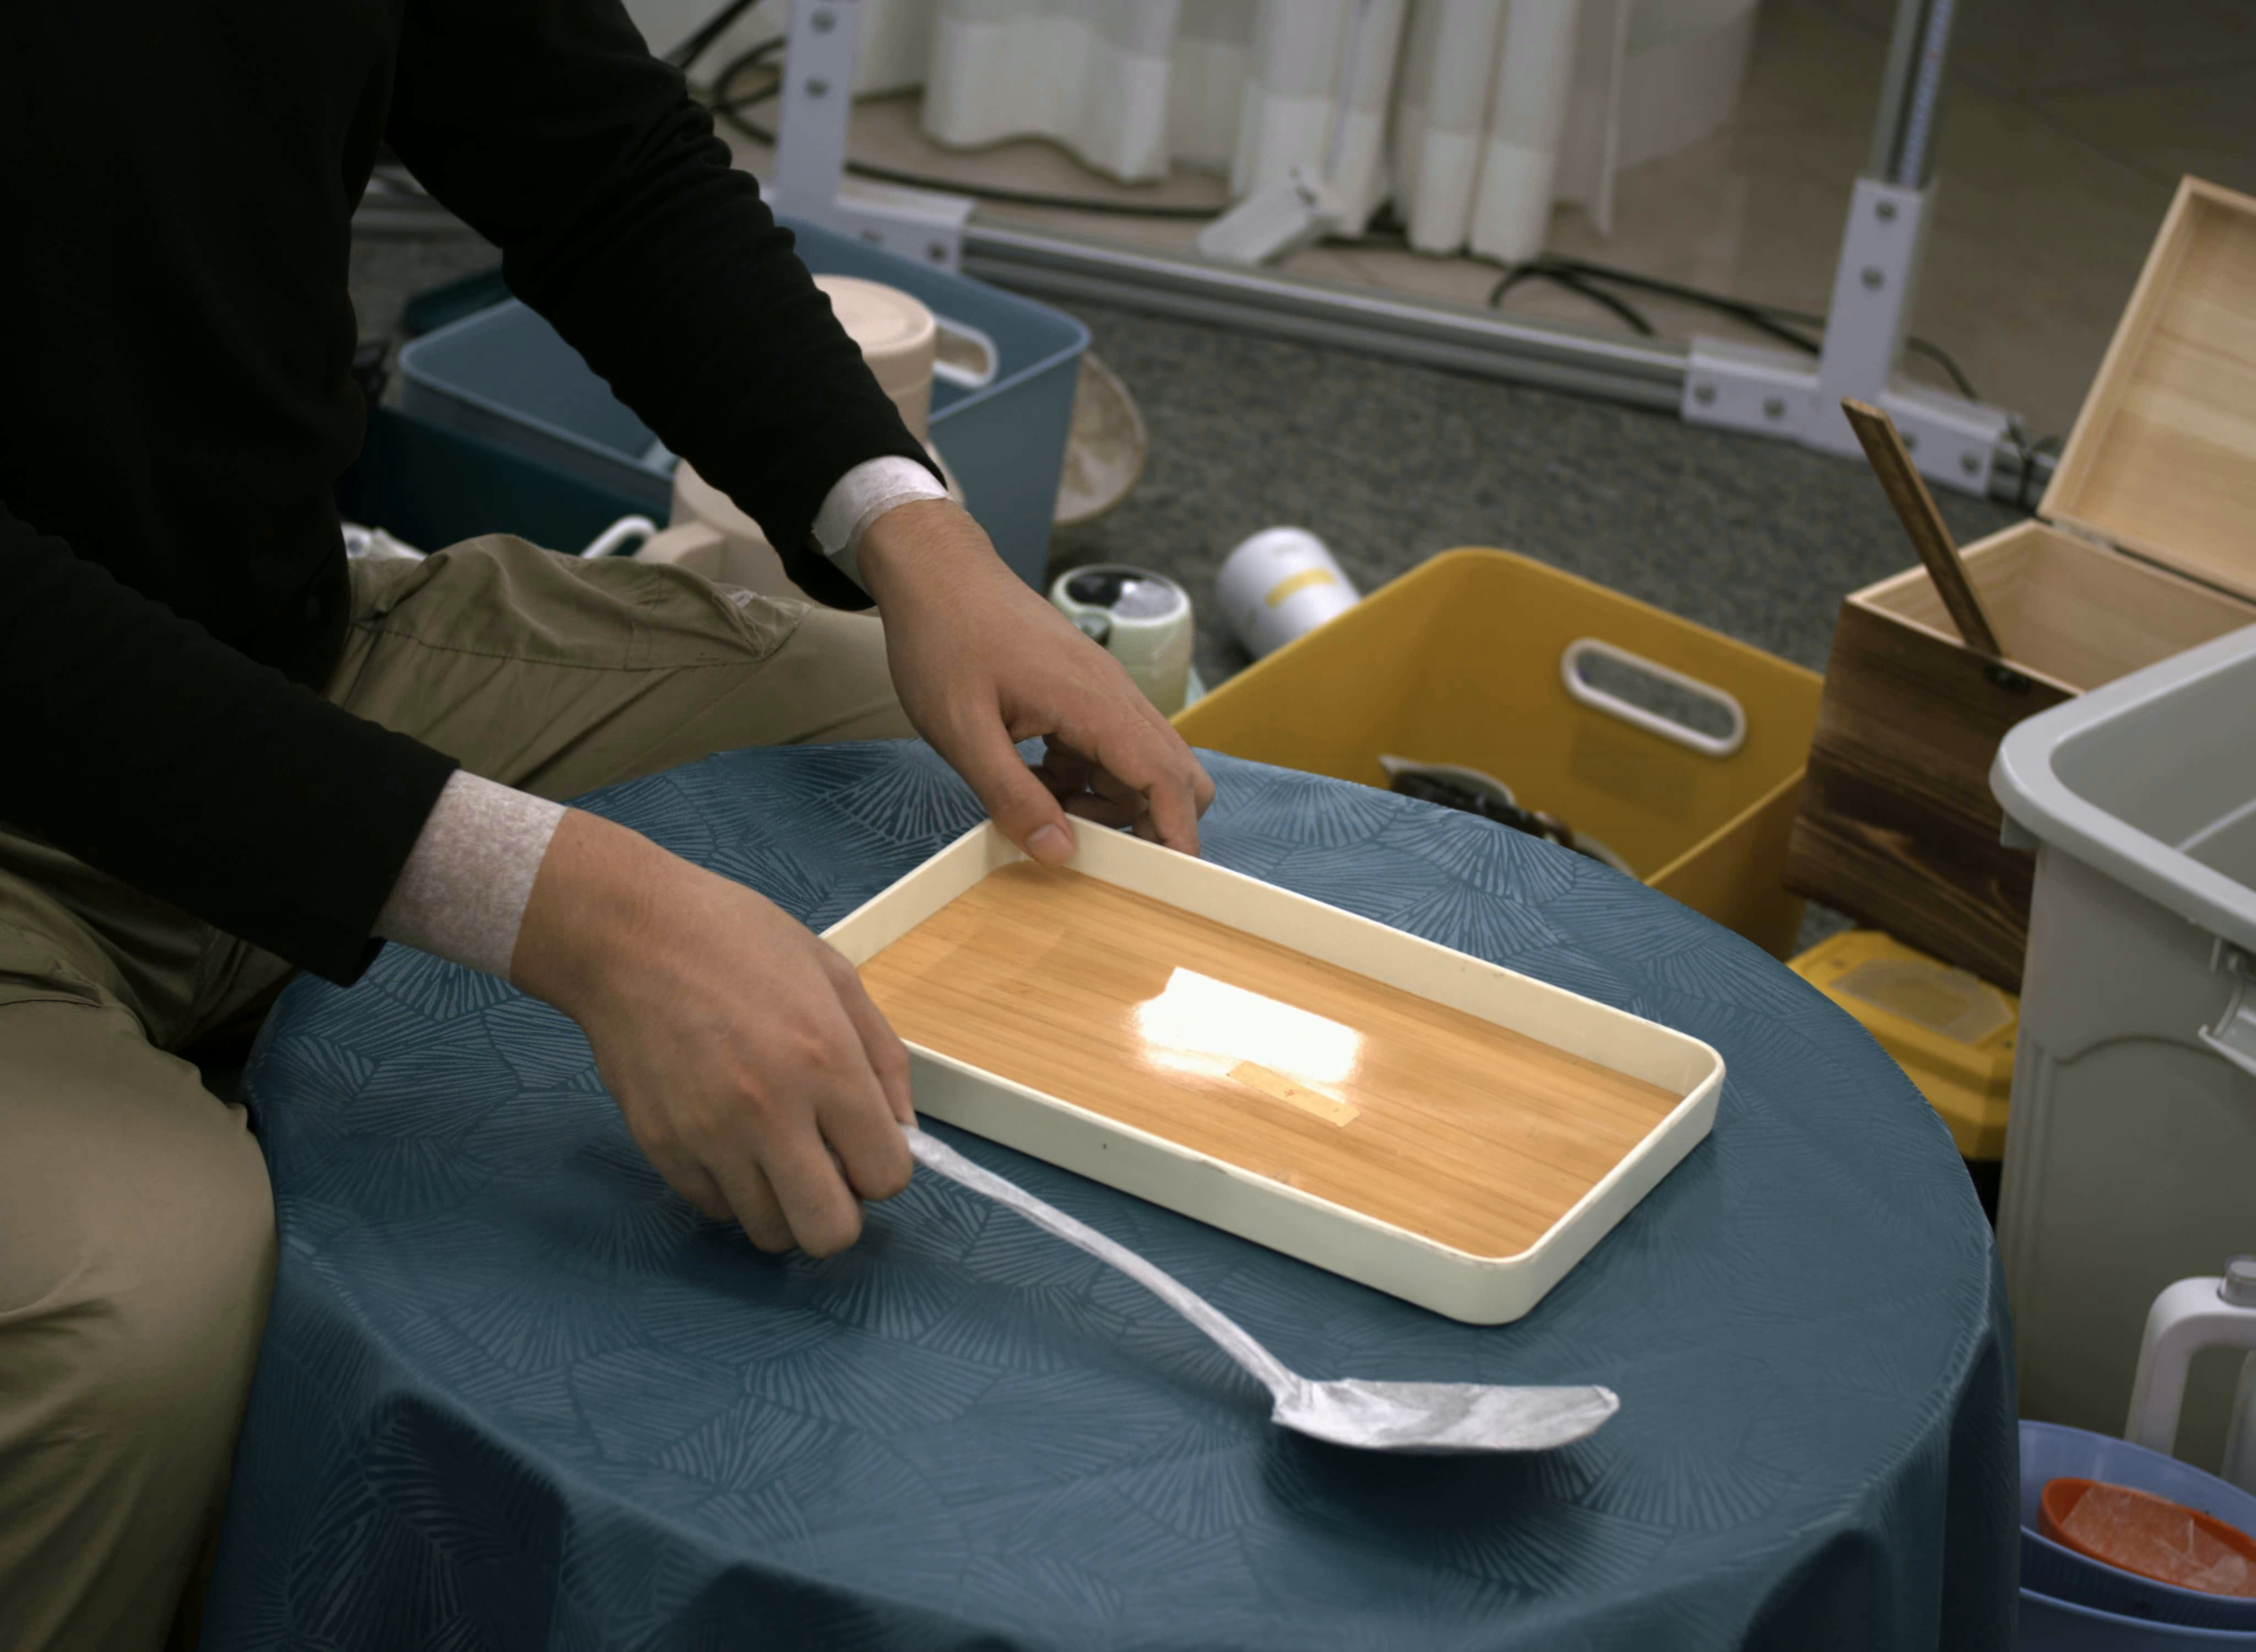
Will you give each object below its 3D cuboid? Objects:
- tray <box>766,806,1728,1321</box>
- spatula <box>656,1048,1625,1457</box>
[{"bbox_3d":[0.042,0.079,1.870,0.301,0.027,0.191,20,30,24],"label":"tray"},{"bbox_3d":[-0.011,0.132,1.717,0.367,0.045,0.098,26,18,25],"label":"spatula"}]
